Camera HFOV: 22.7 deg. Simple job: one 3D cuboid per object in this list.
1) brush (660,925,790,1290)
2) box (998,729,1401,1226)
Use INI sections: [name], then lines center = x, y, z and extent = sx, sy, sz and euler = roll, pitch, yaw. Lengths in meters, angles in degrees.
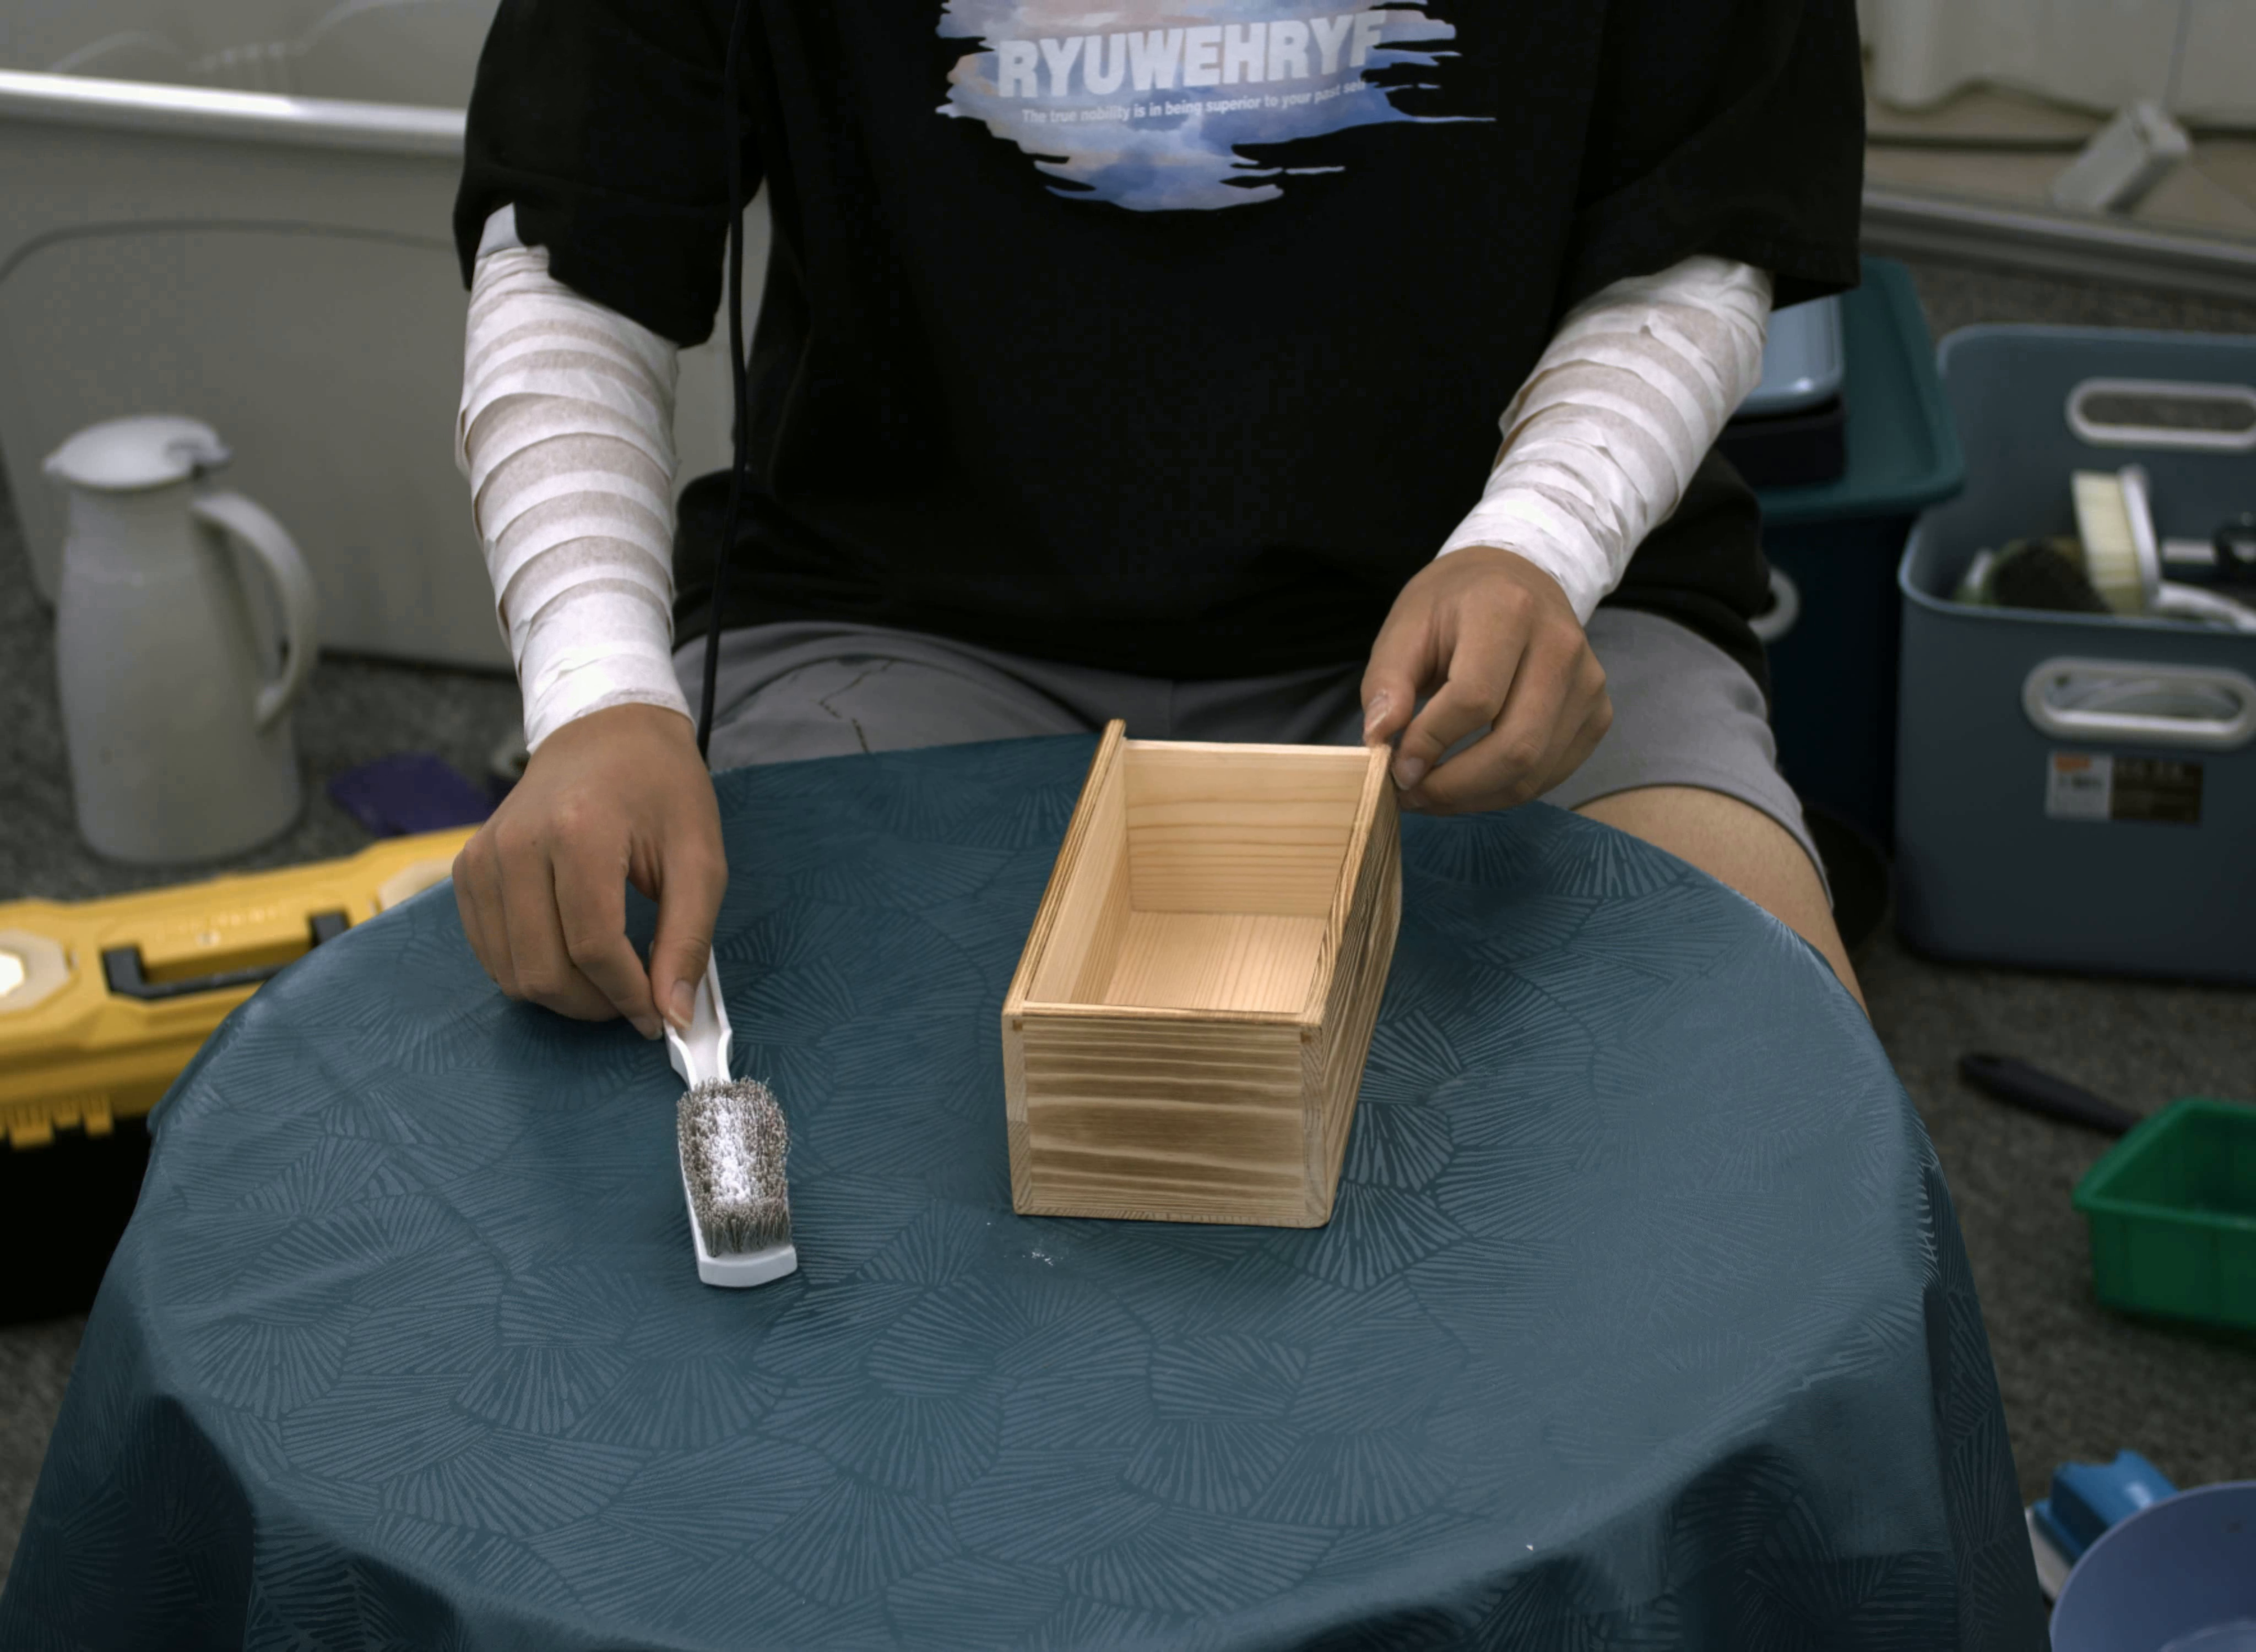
[brush]
center = -0.141, 0.078, 1.906
extent = 0.034, 0.049, 0.247
euler = -5, 28, -6
[box]
center = 0.028, 0.048, 1.917
extent = 0.107, 0.079, 0.215
euler = 1, 26, 9
